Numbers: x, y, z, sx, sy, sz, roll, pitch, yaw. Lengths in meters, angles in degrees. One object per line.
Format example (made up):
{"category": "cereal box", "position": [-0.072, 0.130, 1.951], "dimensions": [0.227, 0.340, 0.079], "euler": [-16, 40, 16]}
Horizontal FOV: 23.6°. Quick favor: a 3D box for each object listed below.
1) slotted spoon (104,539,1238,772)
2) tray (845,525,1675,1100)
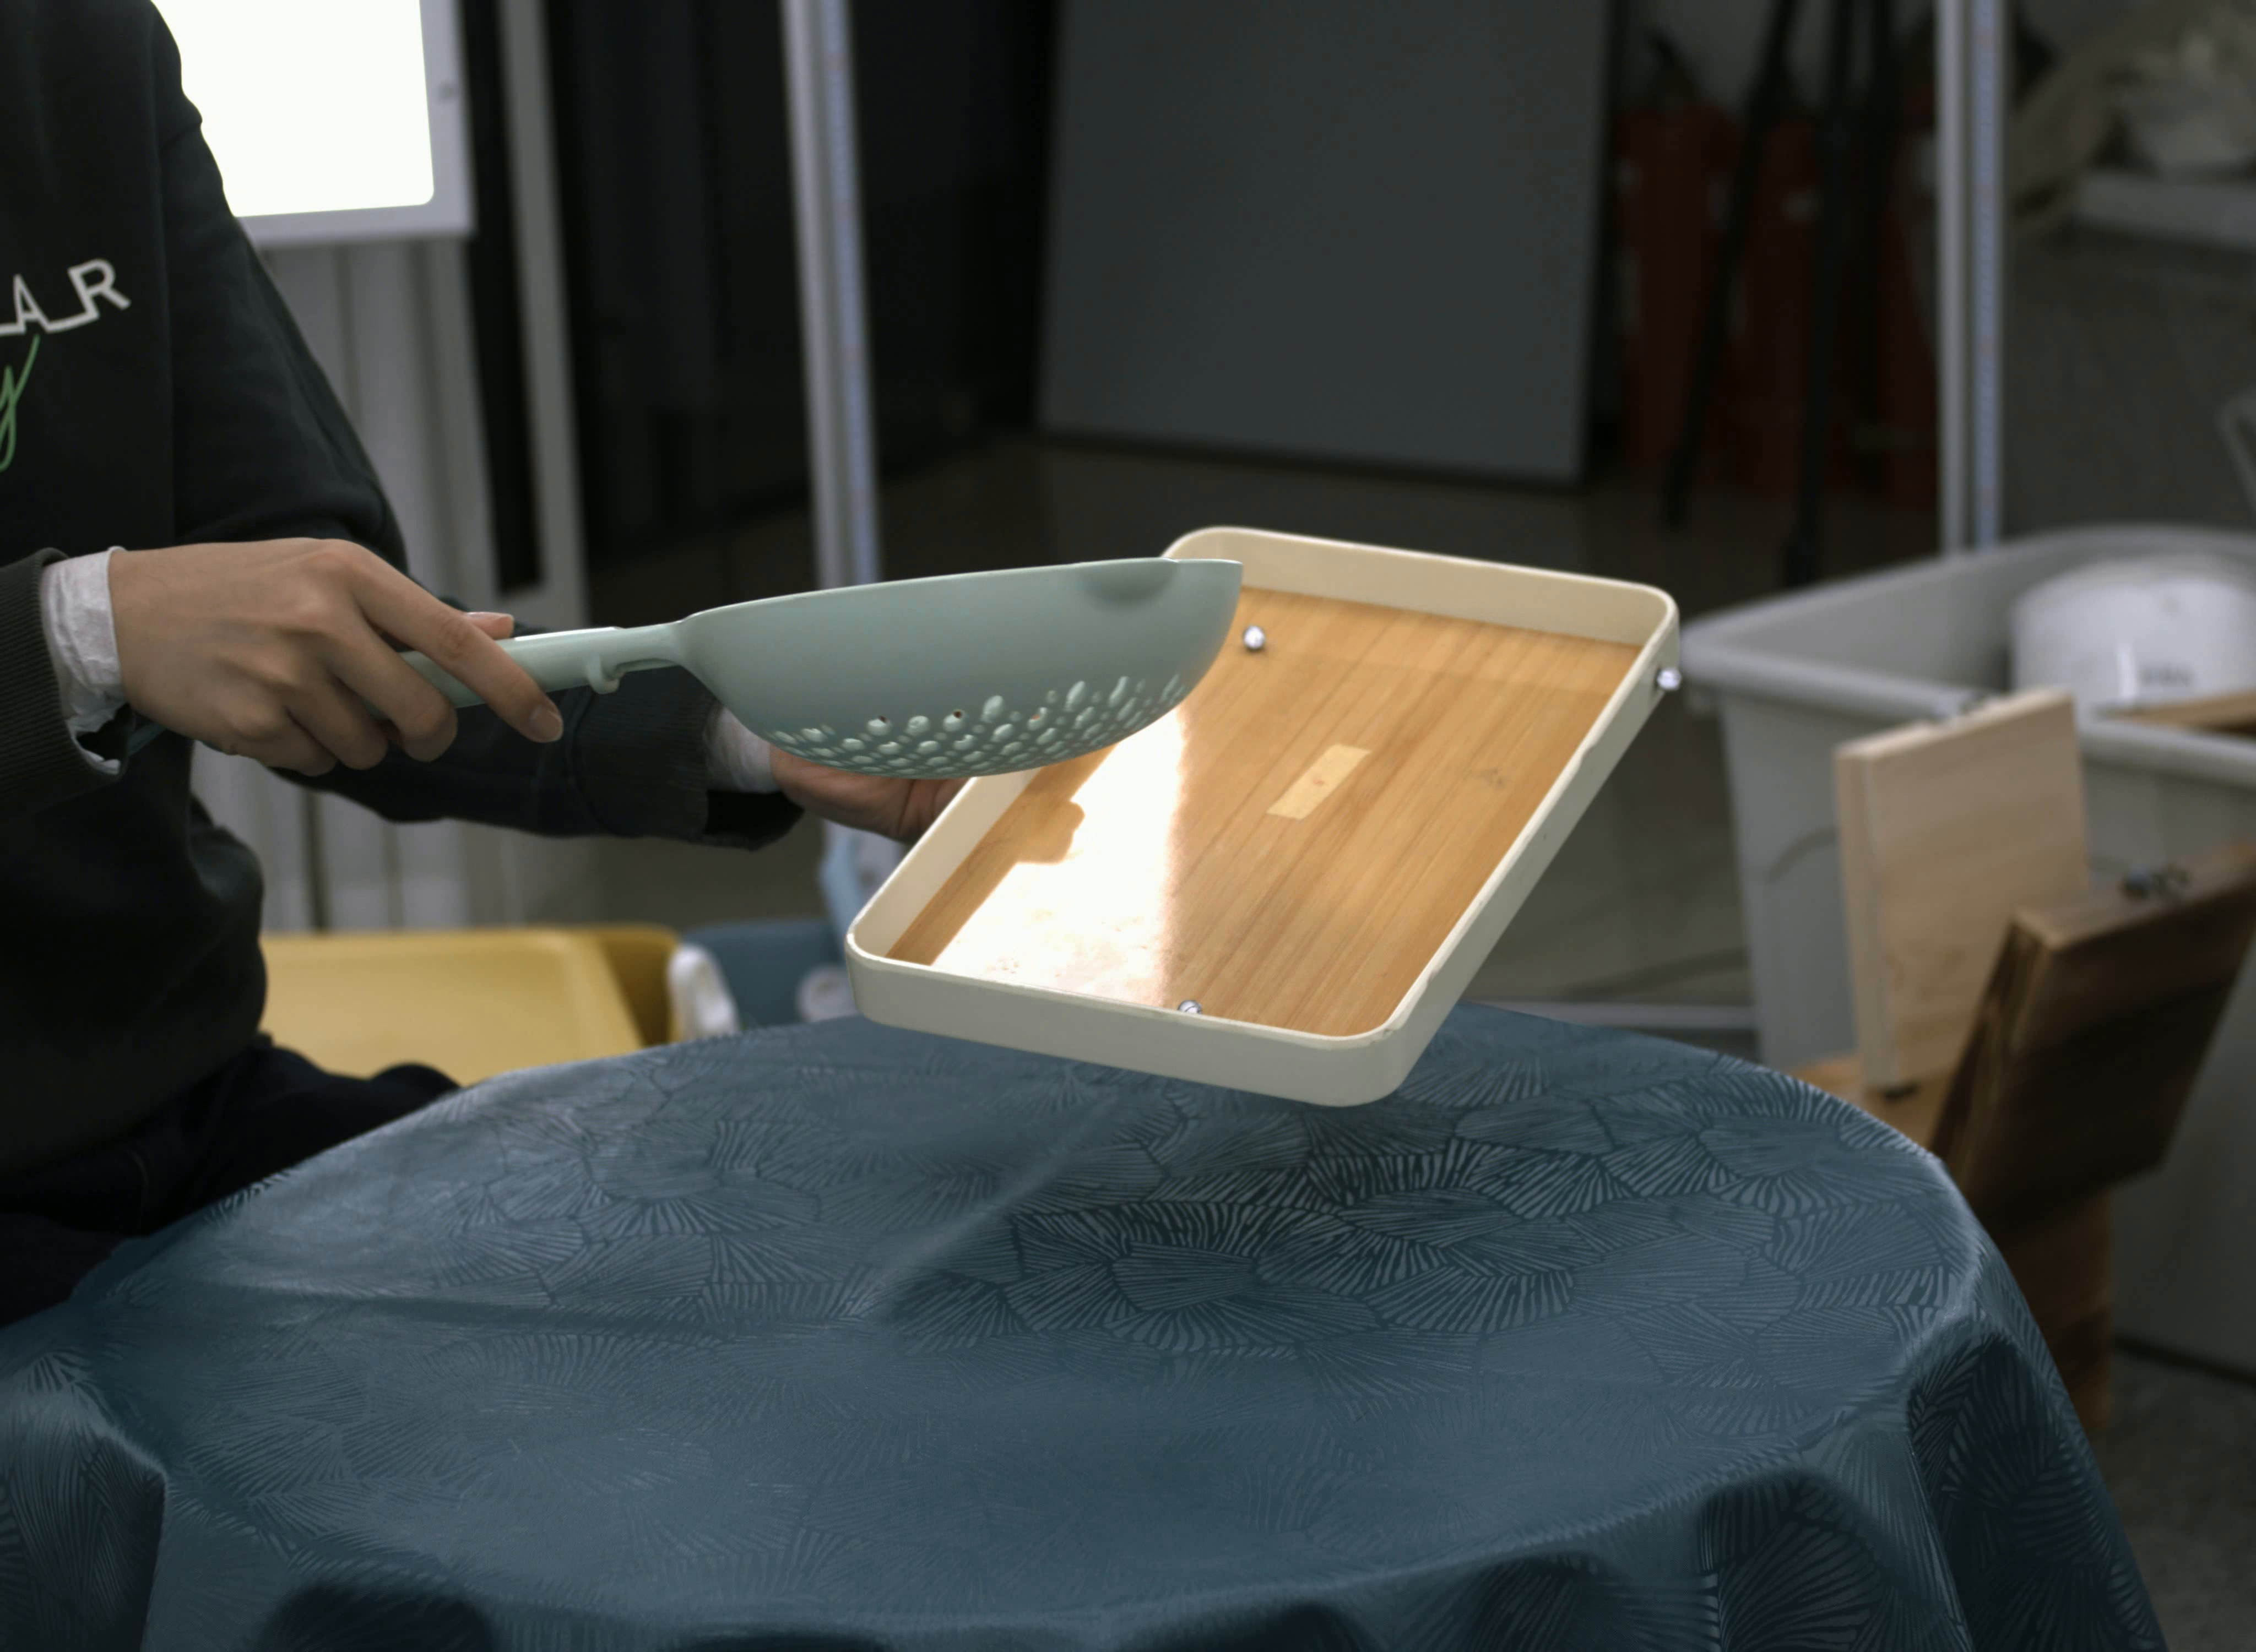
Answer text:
{"category": "slotted spoon", "position": [-0.143, -0.052, 1.648], "dimensions": [0.356, 0.076, 0.168], "euler": [2, 0, 12]}
{"category": "tray", "position": [0.049, -0.011, 1.779], "dimensions": [0.192, 0.027, 0.298], "euler": [9, 33, 23]}
